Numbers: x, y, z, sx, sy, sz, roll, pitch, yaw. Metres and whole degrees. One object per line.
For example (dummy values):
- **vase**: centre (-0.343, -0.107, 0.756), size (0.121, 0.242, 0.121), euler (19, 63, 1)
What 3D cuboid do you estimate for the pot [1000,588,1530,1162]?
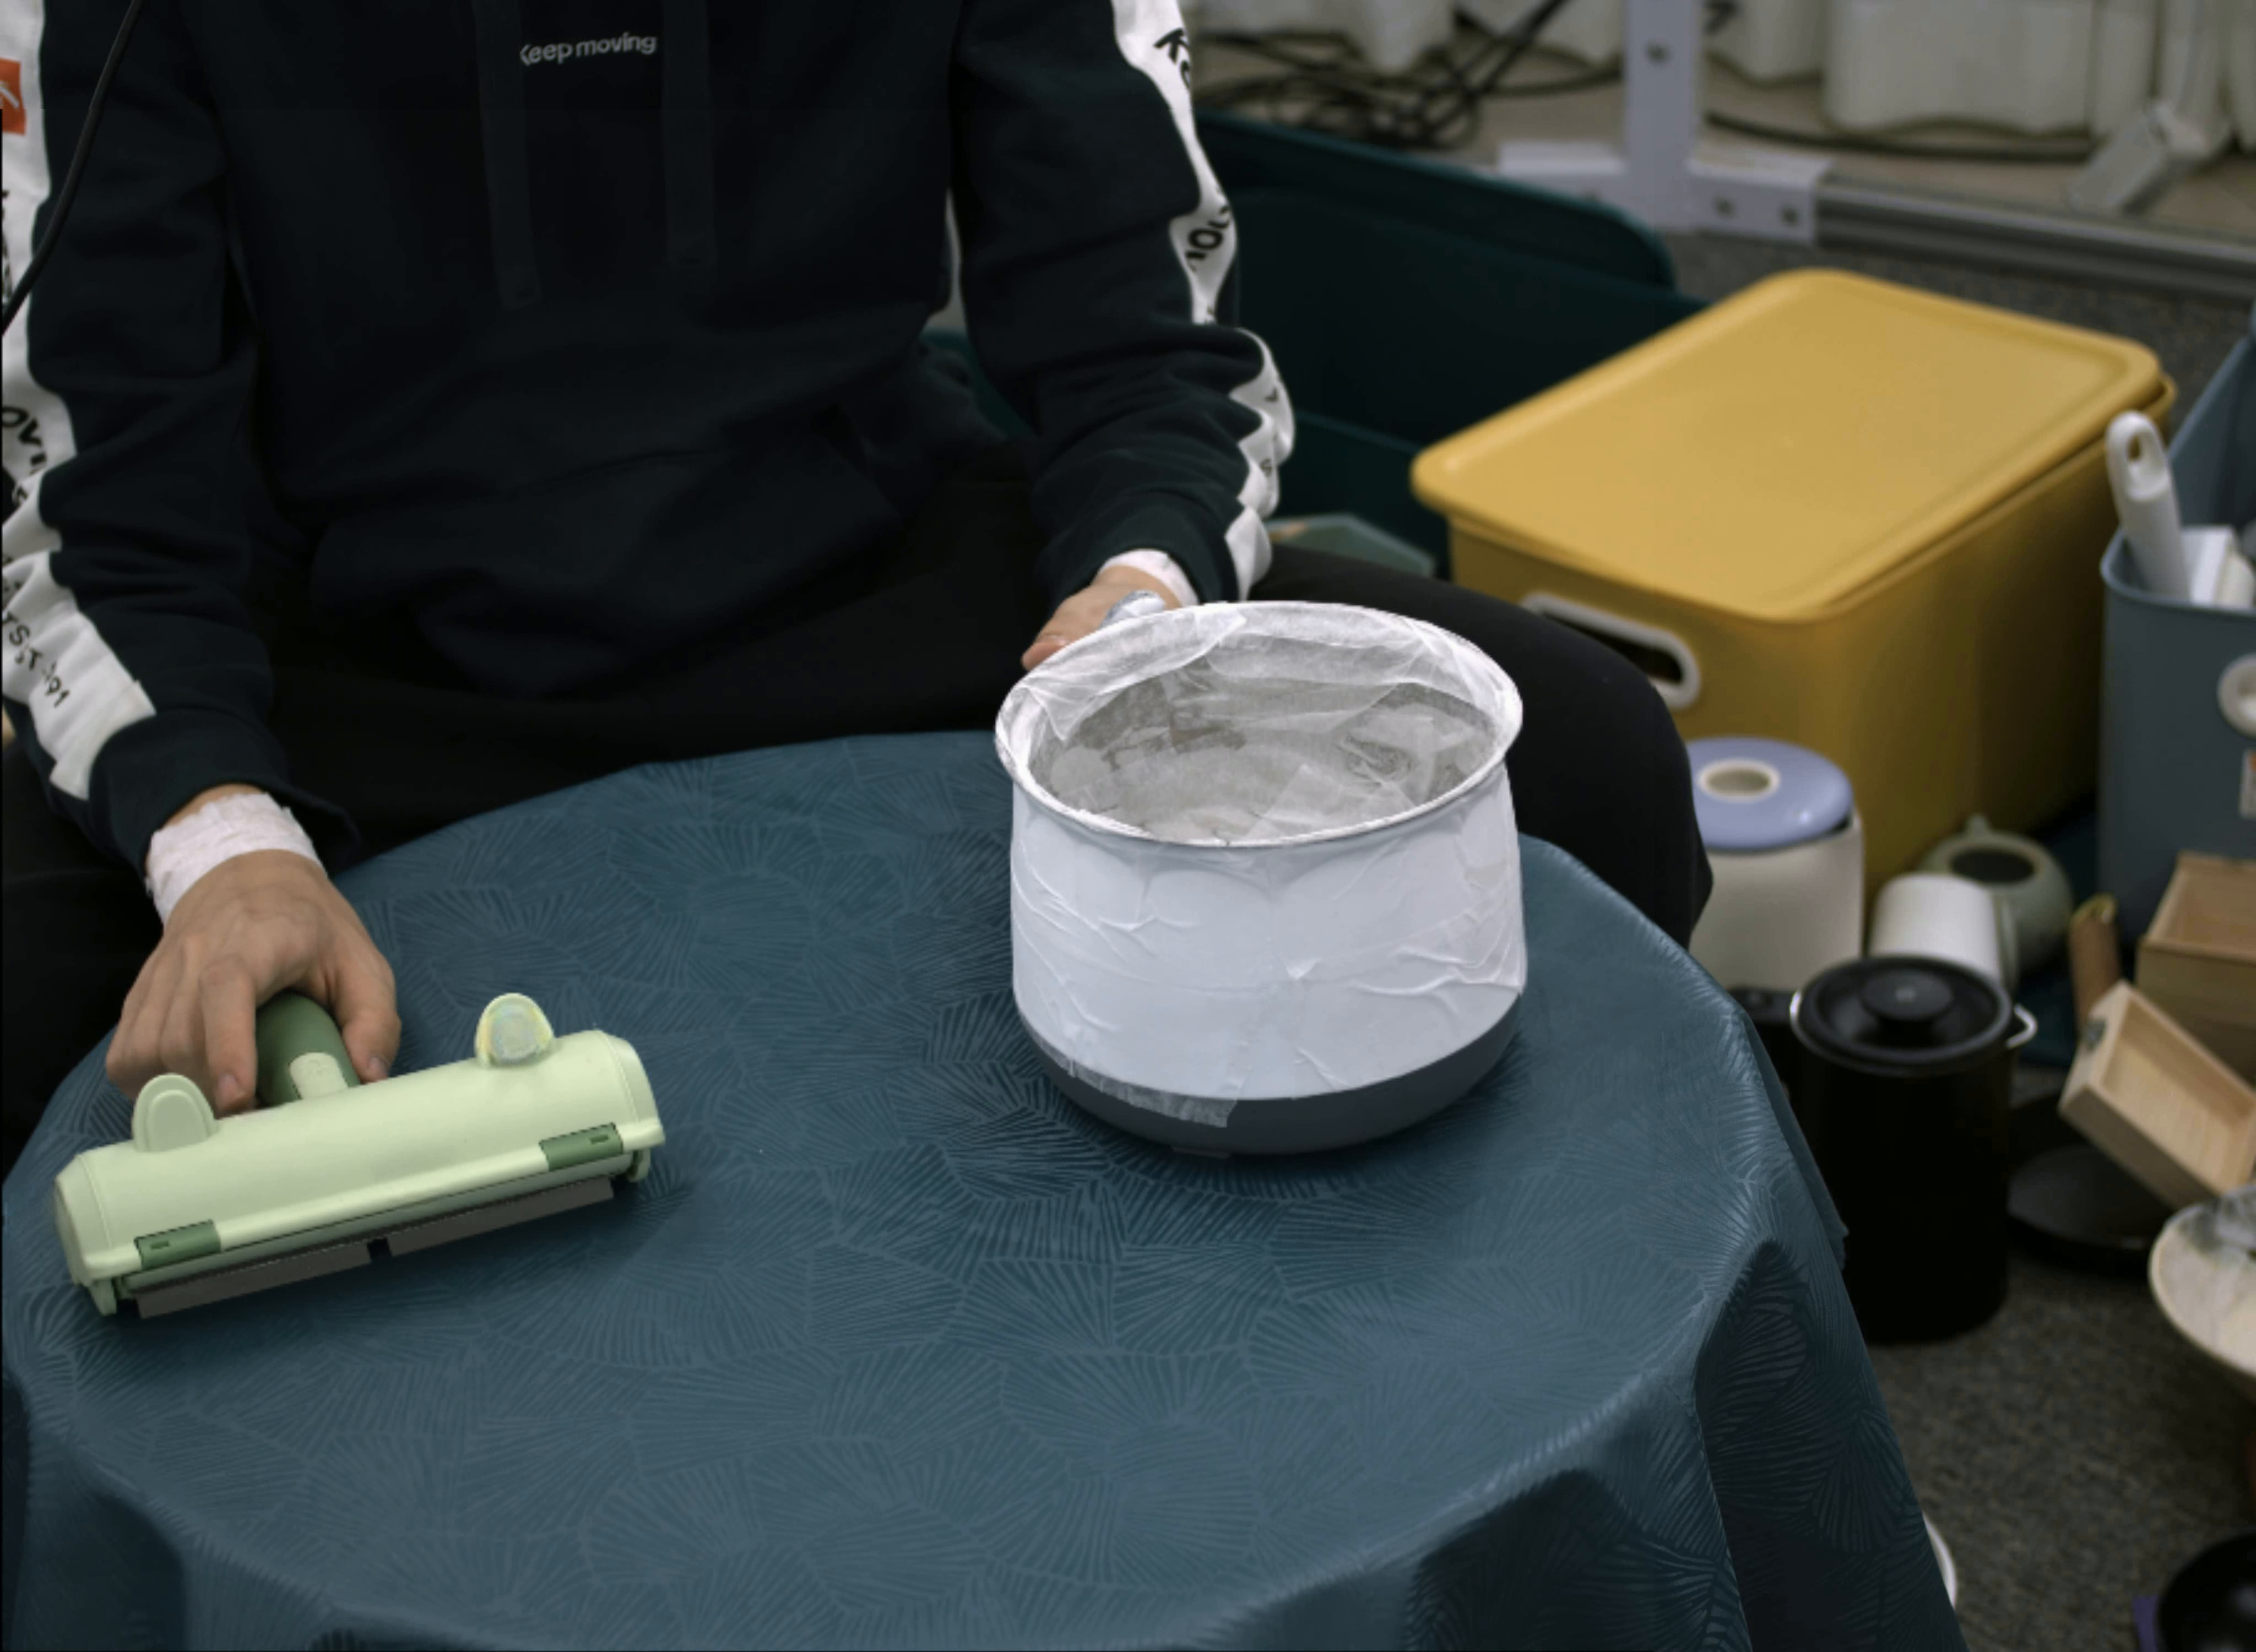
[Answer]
- **pot**: centre (0.037, 0.009, 1.928), size (0.179, 0.135, 0.235), euler (-13, 29, -20)

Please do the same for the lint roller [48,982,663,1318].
- **lint roller**: centre (-0.274, 0.081, 1.885), size (0.199, 0.081, 0.185), euler (-13, 34, -18)
